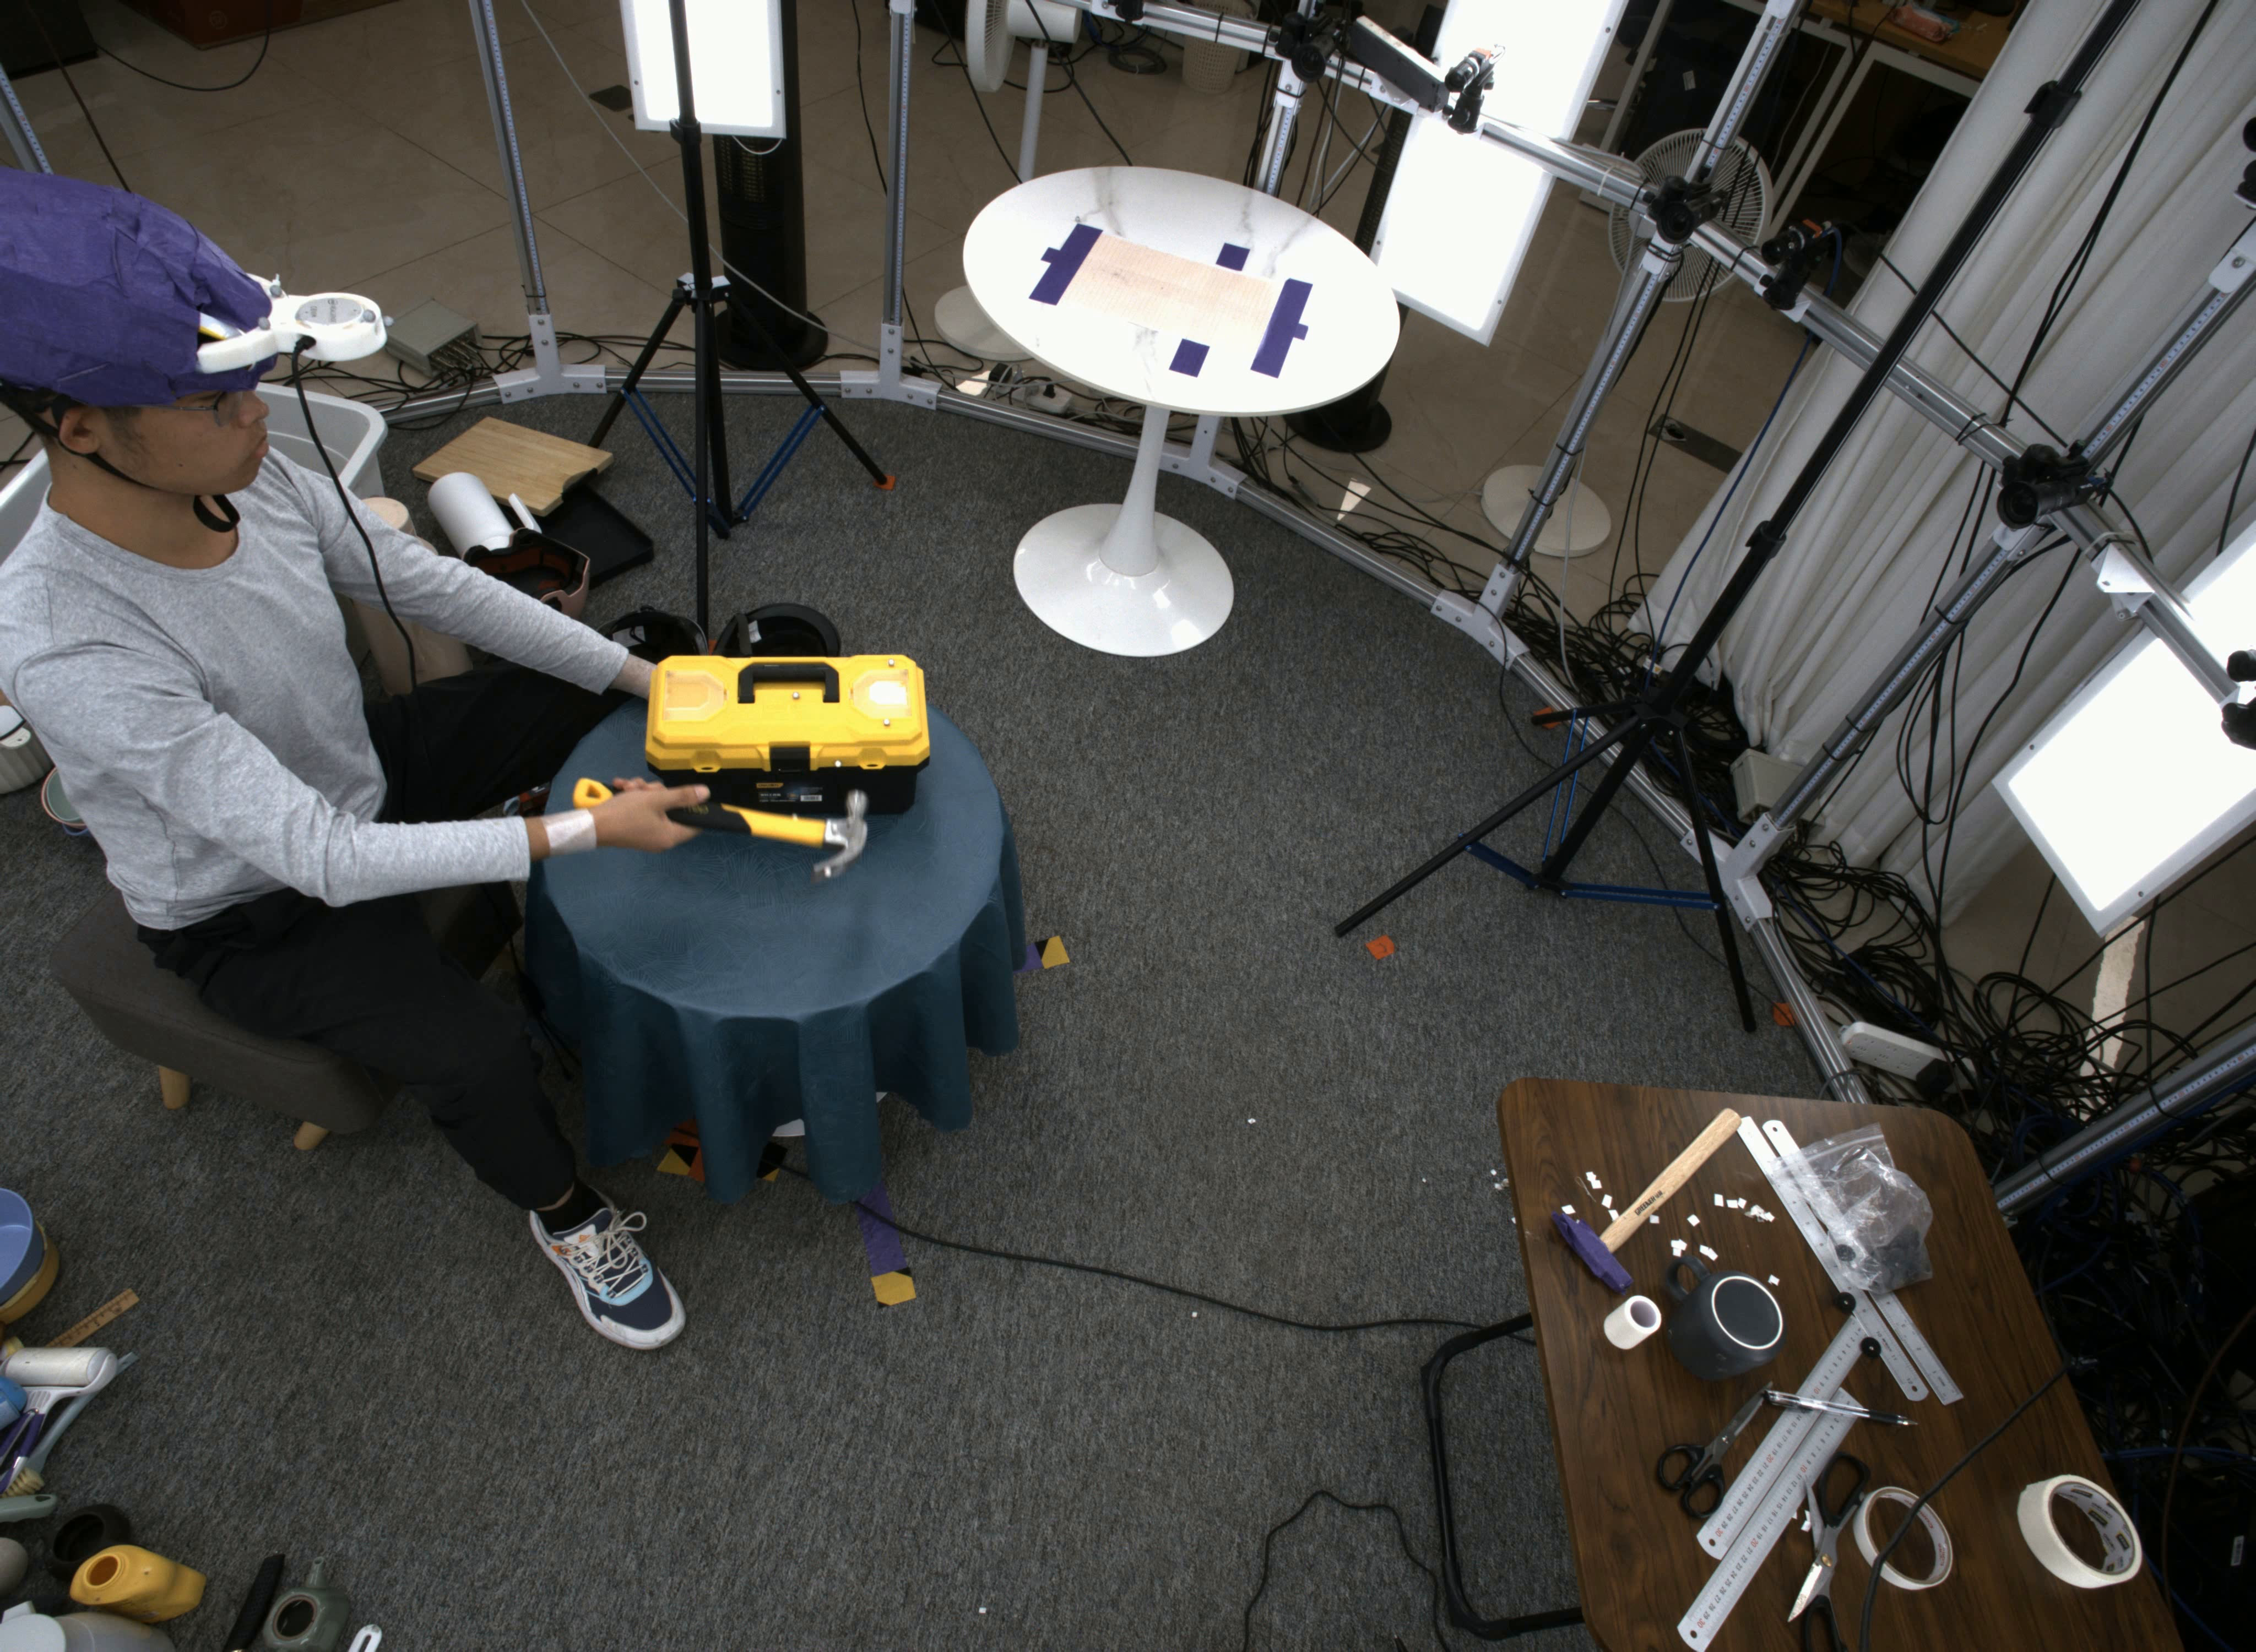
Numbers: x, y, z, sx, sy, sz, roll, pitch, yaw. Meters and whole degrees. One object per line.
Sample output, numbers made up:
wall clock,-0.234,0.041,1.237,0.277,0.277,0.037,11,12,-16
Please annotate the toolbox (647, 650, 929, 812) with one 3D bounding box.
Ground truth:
toolbox,-0.441,-0.117,1.696,0.352,0.176,0.177,-2,54,-14

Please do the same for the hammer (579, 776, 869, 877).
hammer,-0.476,-0.018,1.513,0.340,0.033,0.129,9,51,-17
